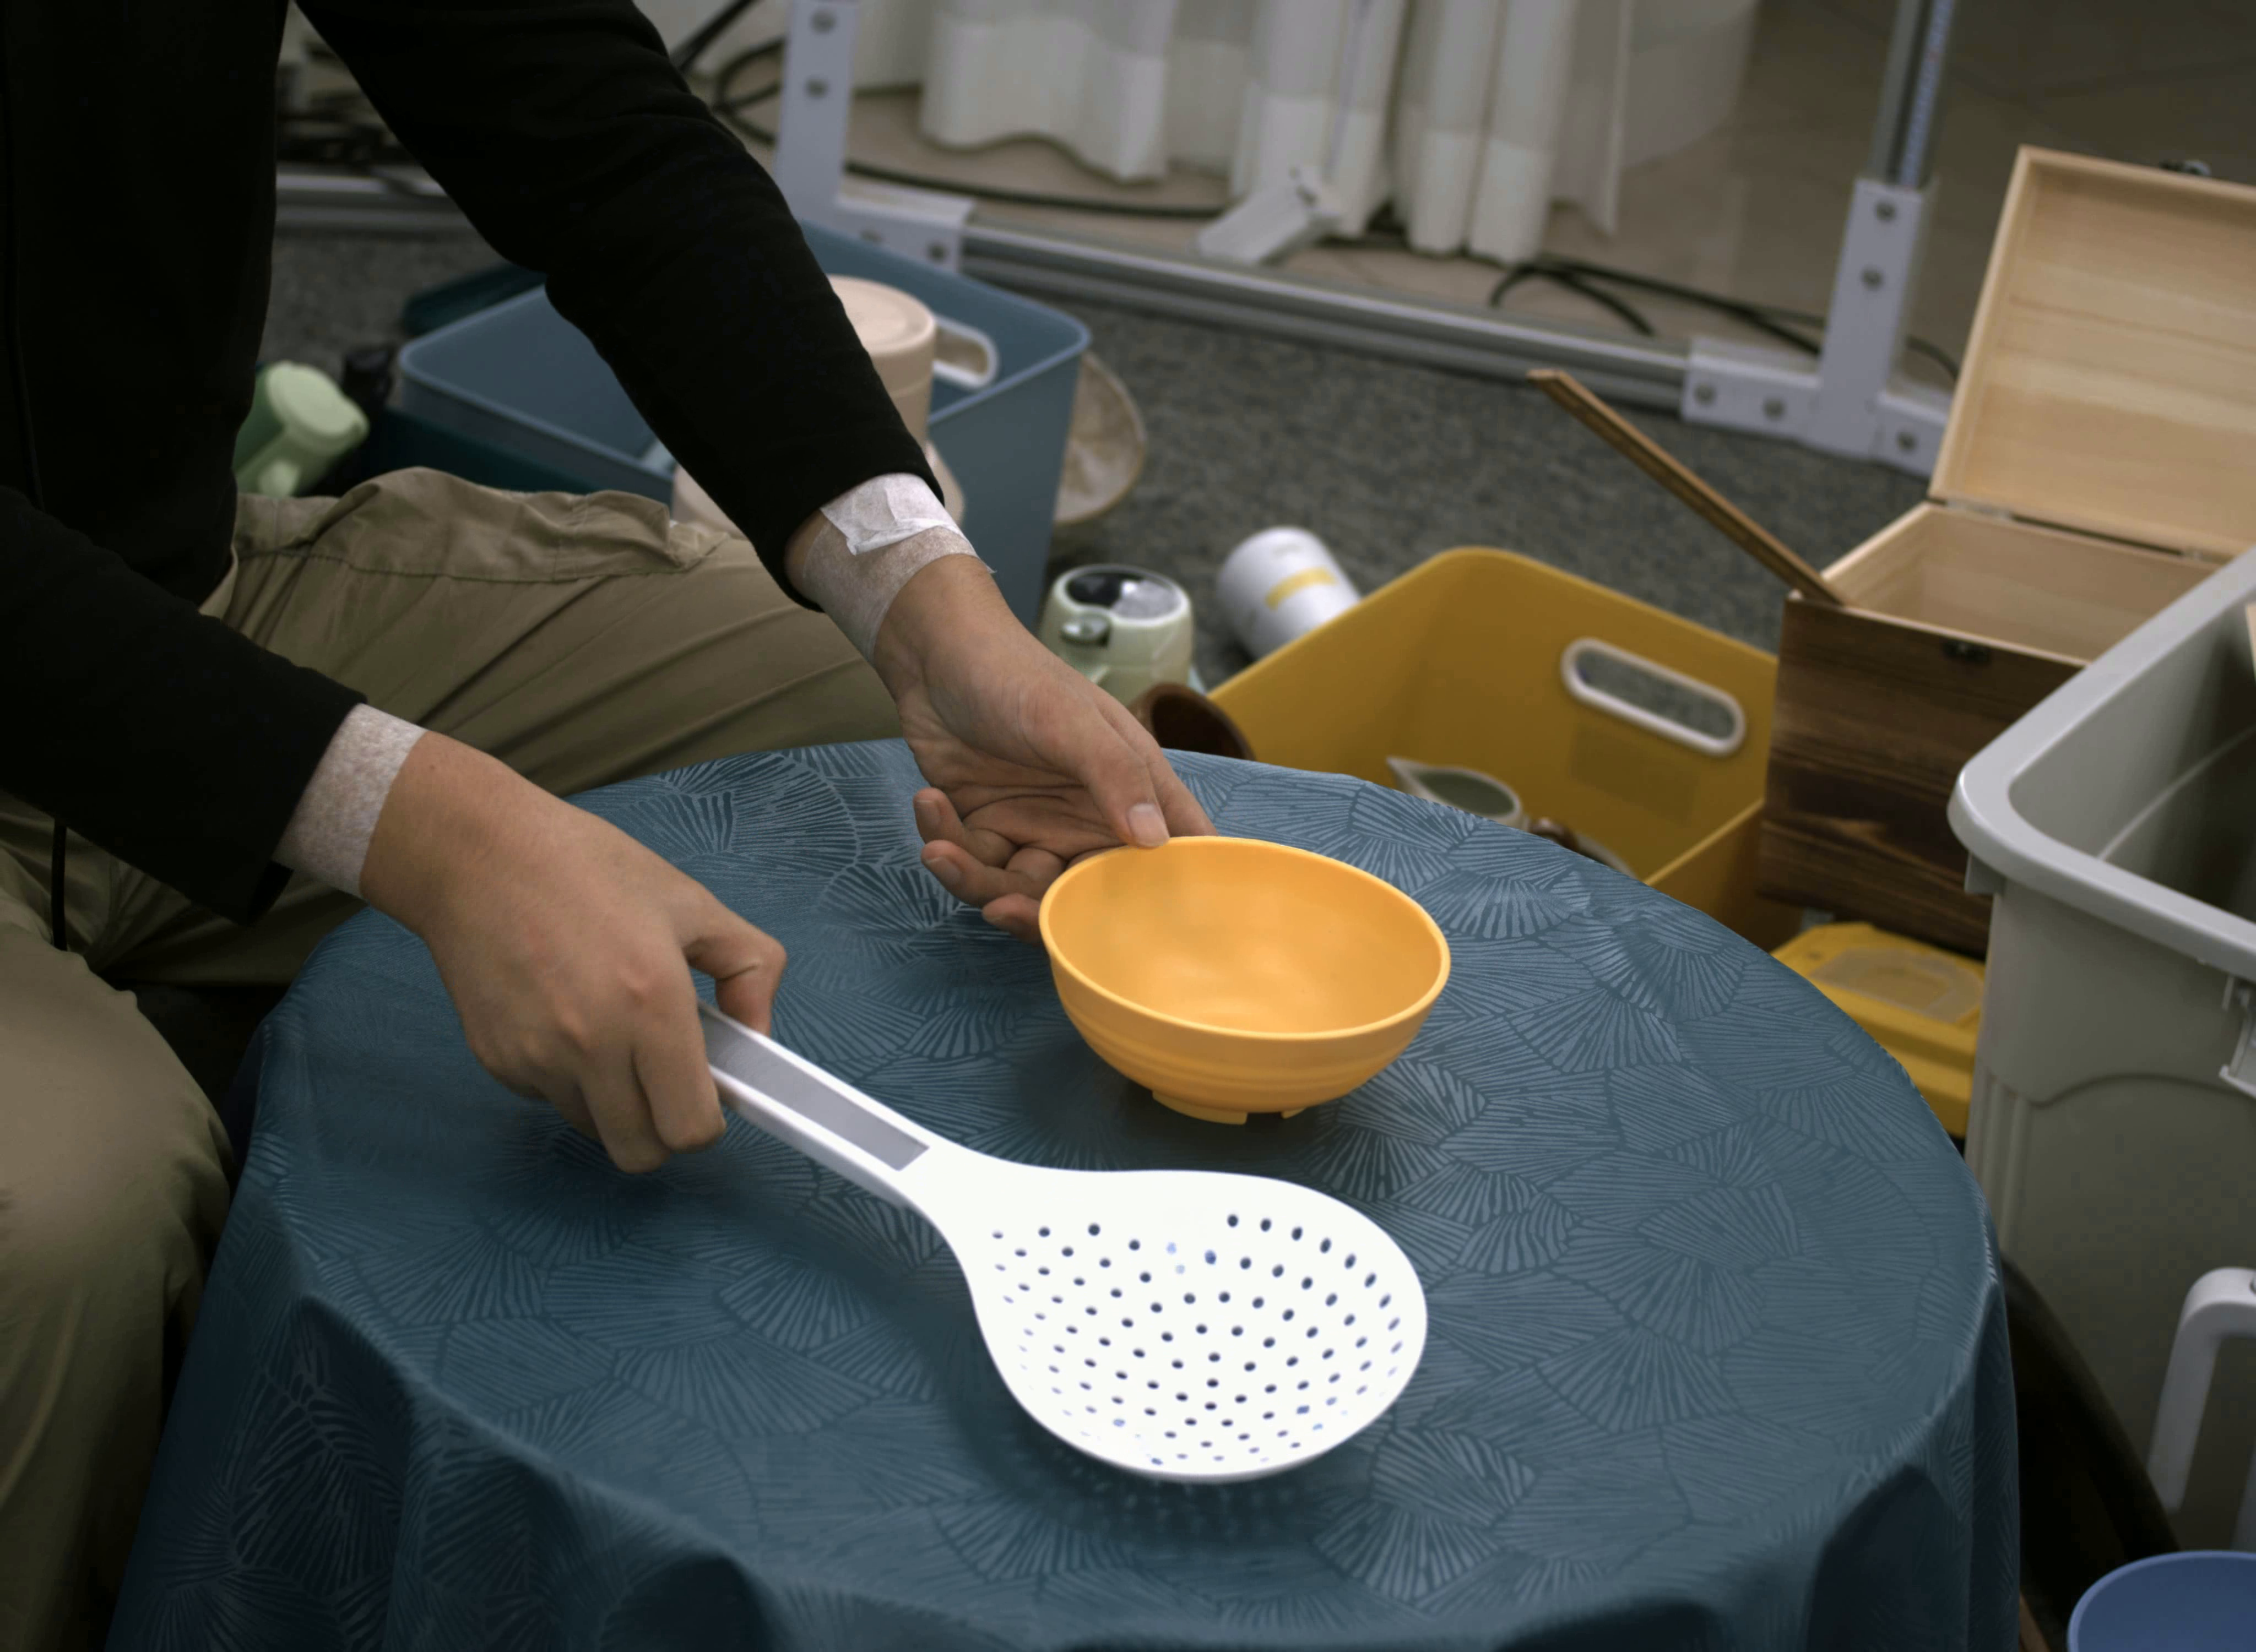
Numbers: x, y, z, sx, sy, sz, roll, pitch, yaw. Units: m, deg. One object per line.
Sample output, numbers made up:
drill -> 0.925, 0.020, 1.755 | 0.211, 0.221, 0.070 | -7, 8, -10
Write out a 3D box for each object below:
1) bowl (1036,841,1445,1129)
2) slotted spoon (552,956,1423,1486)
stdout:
bowl -> 0.035, 0.064, 1.865 | 0.145, 0.060, 0.146 | 7, 26, -4
slotted spoon -> -0.058, 0.120, 1.720 | 0.352, 0.045, 0.136 | 30, 49, 30
